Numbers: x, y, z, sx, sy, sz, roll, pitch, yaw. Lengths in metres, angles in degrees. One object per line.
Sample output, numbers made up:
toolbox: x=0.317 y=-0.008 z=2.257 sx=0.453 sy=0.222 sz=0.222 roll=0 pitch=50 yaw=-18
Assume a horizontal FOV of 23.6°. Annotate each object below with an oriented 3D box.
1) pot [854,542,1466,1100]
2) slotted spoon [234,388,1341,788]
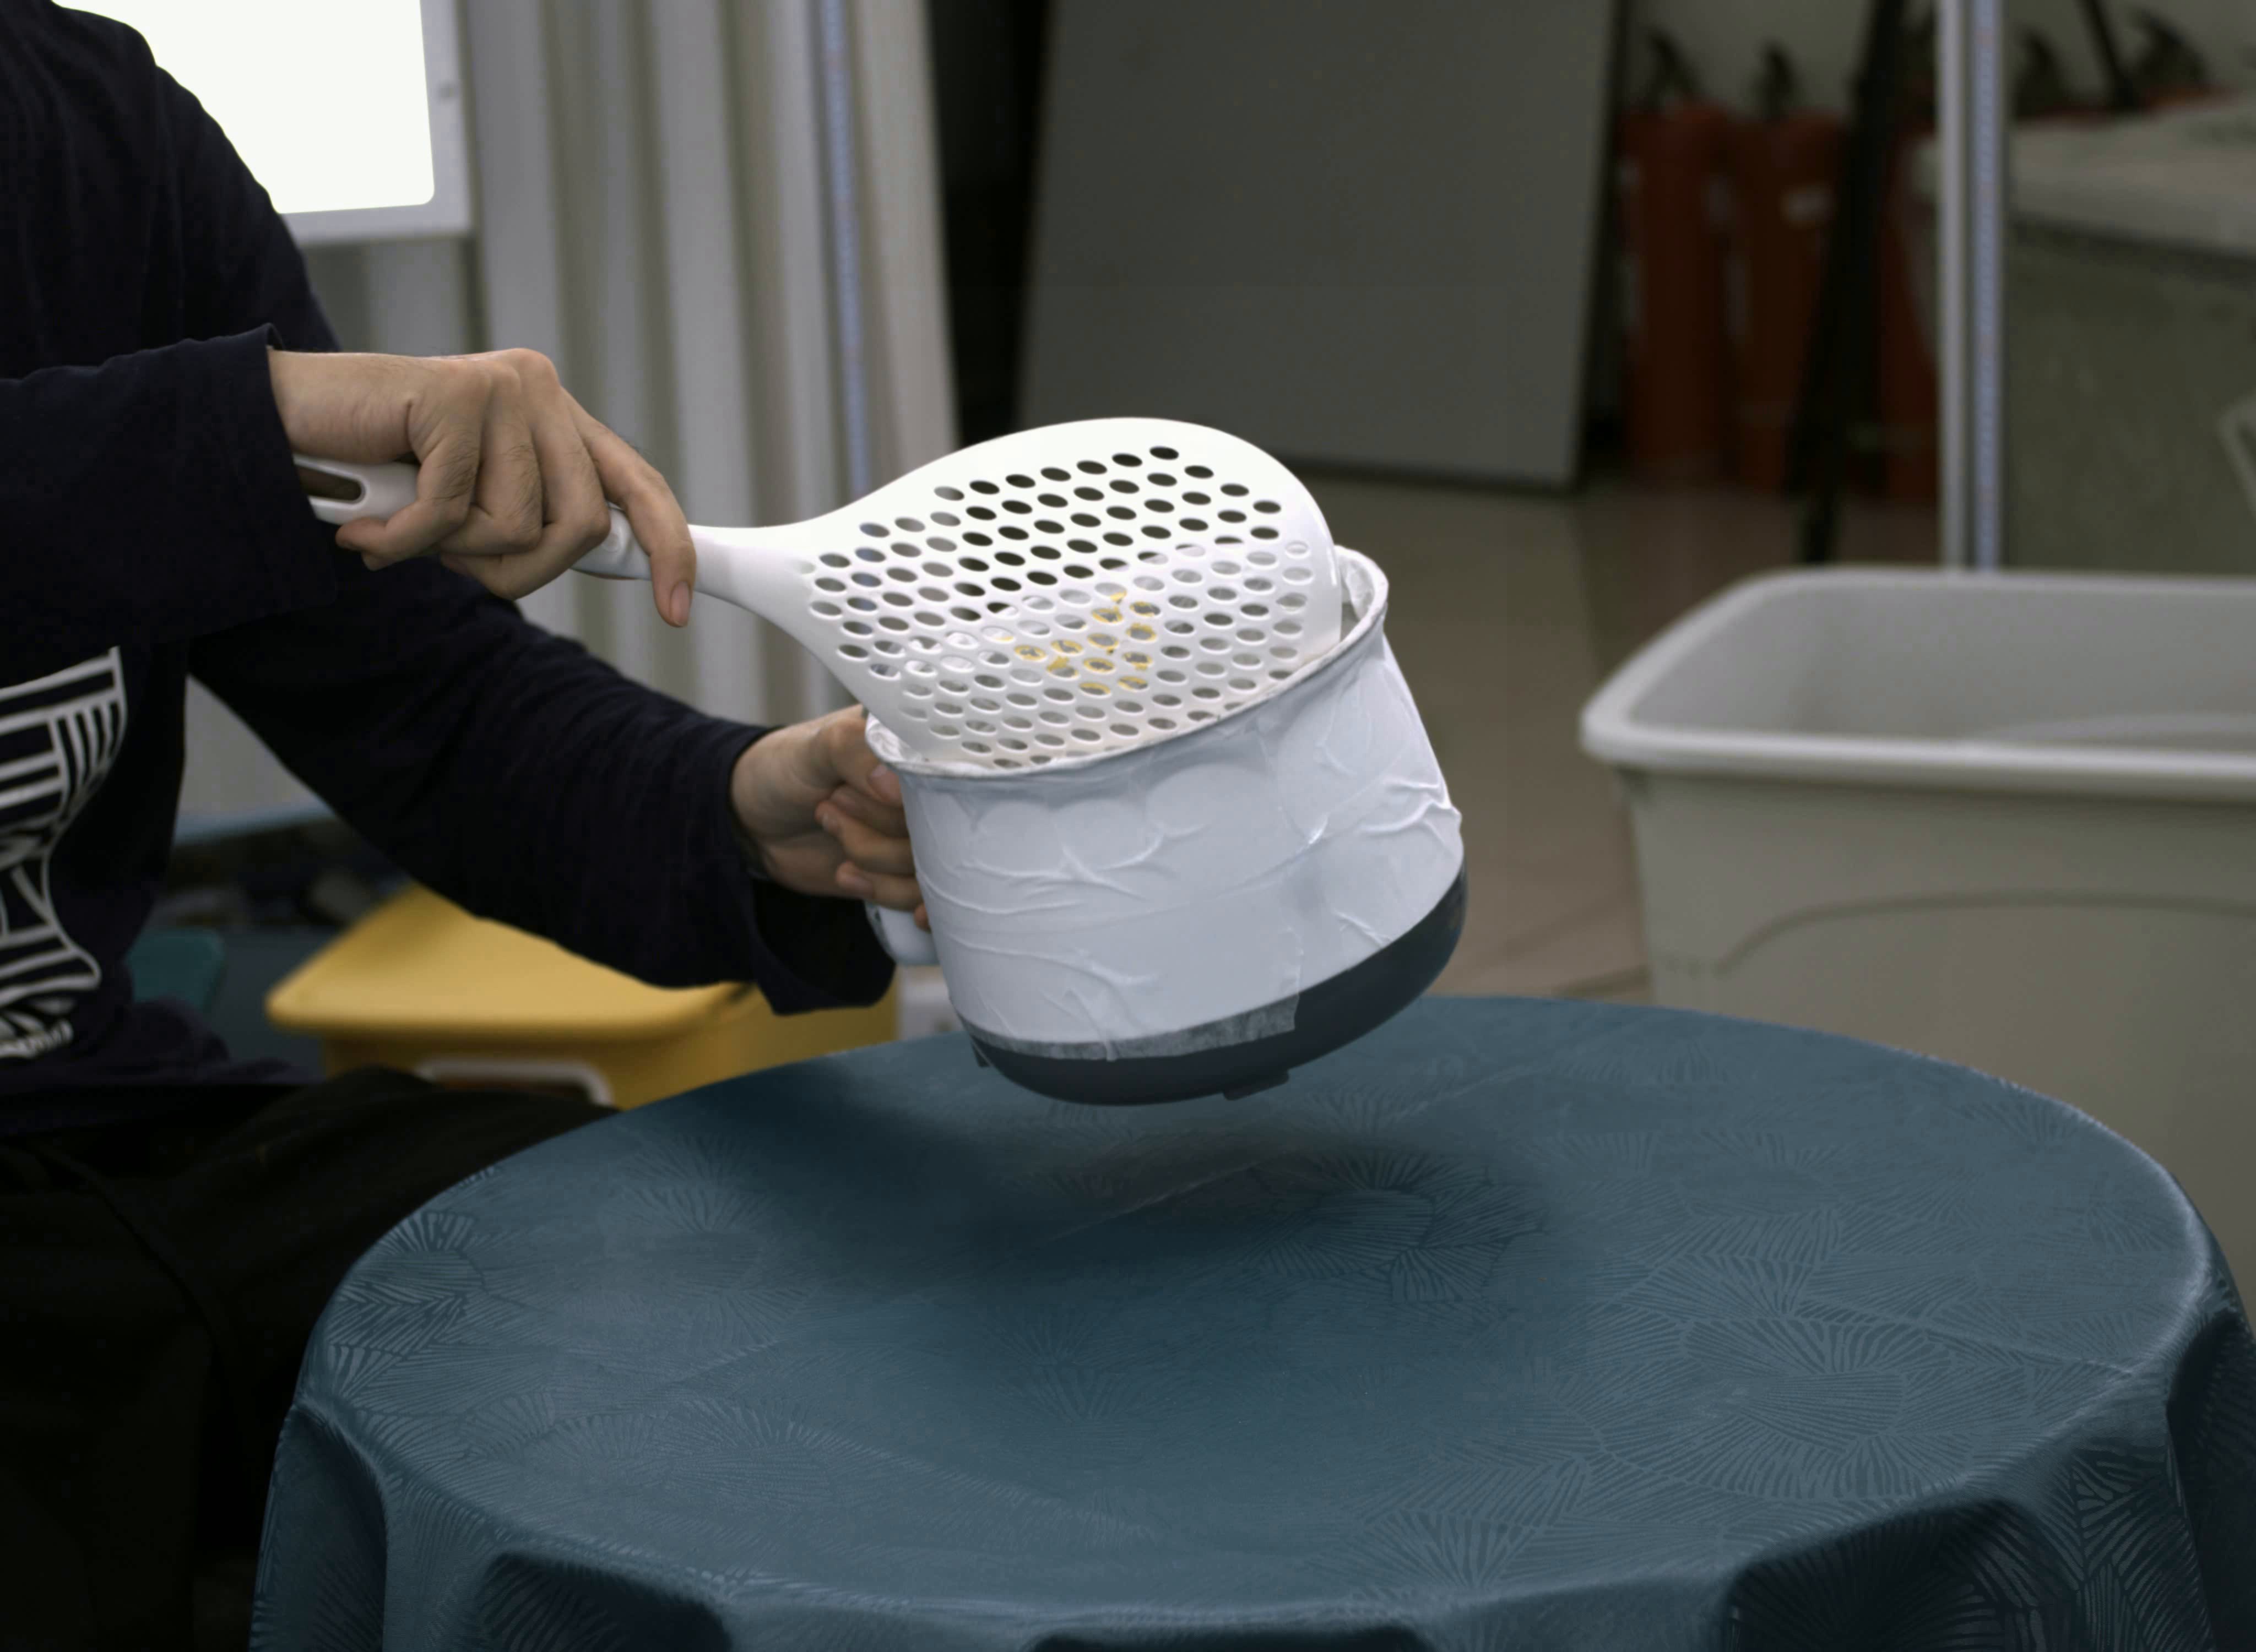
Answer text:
pot: x=-0.004 y=-0.001 z=1.774 sx=0.235 sy=0.137 sz=0.176 roll=1 pitch=23 yaw=41
slotted spoon: x=-0.104 y=-0.085 z=1.679 sx=0.344 sy=0.138 sz=0.050 roll=10 pitch=9 yaw=3
